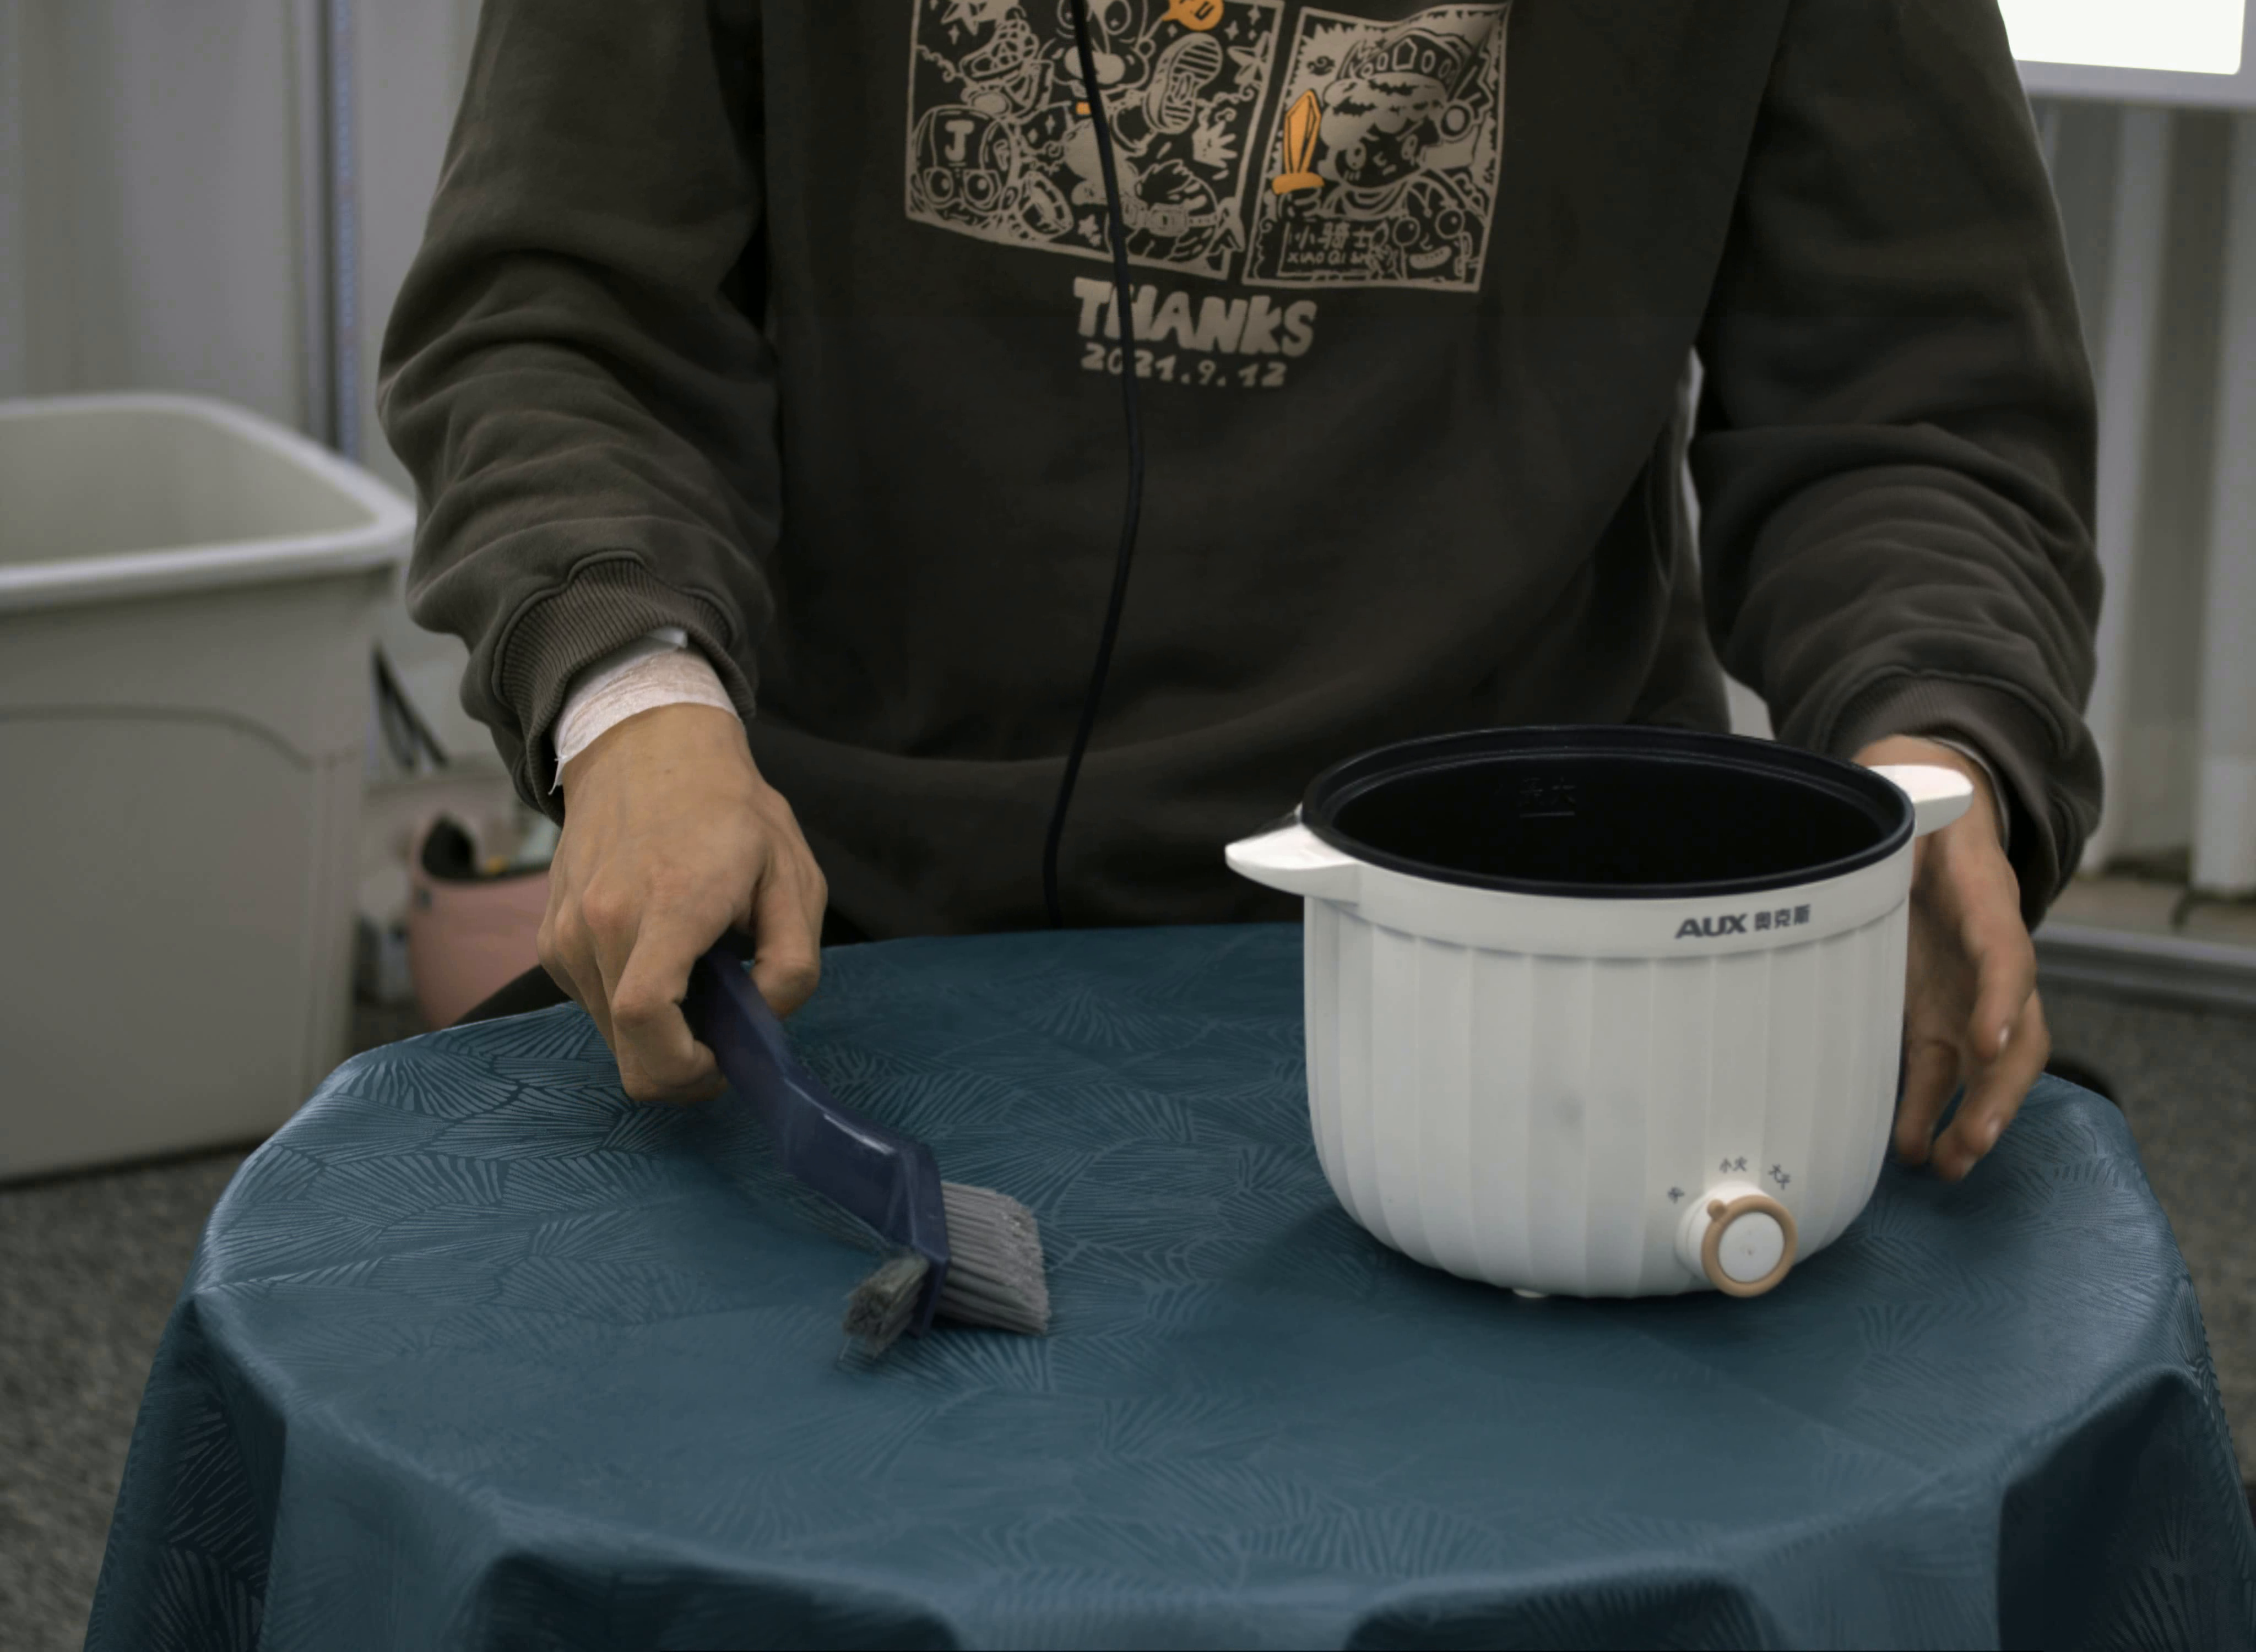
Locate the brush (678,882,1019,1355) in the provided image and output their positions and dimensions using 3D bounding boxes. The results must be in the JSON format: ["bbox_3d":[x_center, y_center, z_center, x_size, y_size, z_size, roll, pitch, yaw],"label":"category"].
[{"bbox_3d":[-0.106,0.085,1.602,0.096,0.034,0.269,4,22,-32],"label":"brush"}]

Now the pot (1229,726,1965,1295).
[{"bbox_3d":[0.145,0.057,1.573,0.241,0.144,0.188,-7,14,-21],"label":"pot"}]
